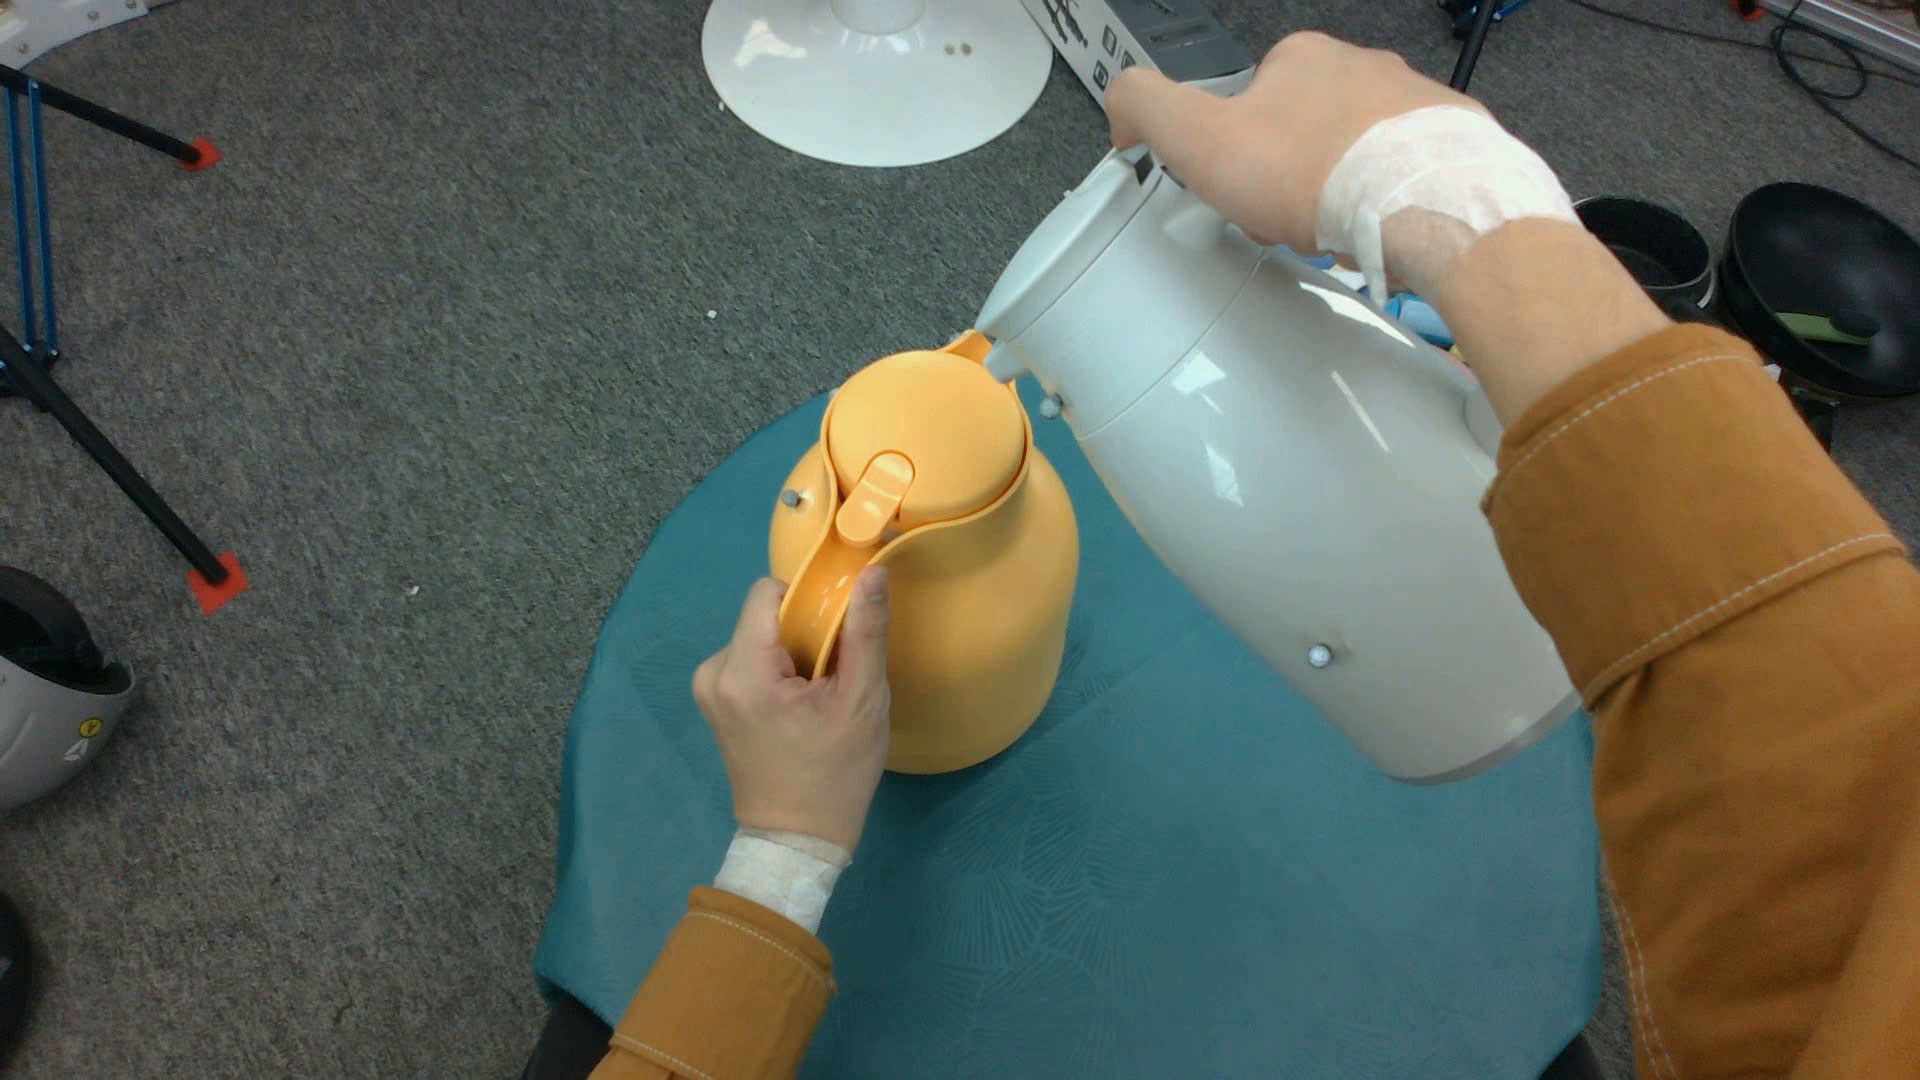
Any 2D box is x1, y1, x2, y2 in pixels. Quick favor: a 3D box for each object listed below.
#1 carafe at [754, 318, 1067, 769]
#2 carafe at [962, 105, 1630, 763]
[{"bbox_3d":[-0.037,0.019,0.713,0.163,0.259,0.203,28,61,14],"label":"carafe"},{"bbox_3d":[0.129,-0.051,0.516,0.248,0.167,0.133,41,44,-10],"label":"carafe"}]
